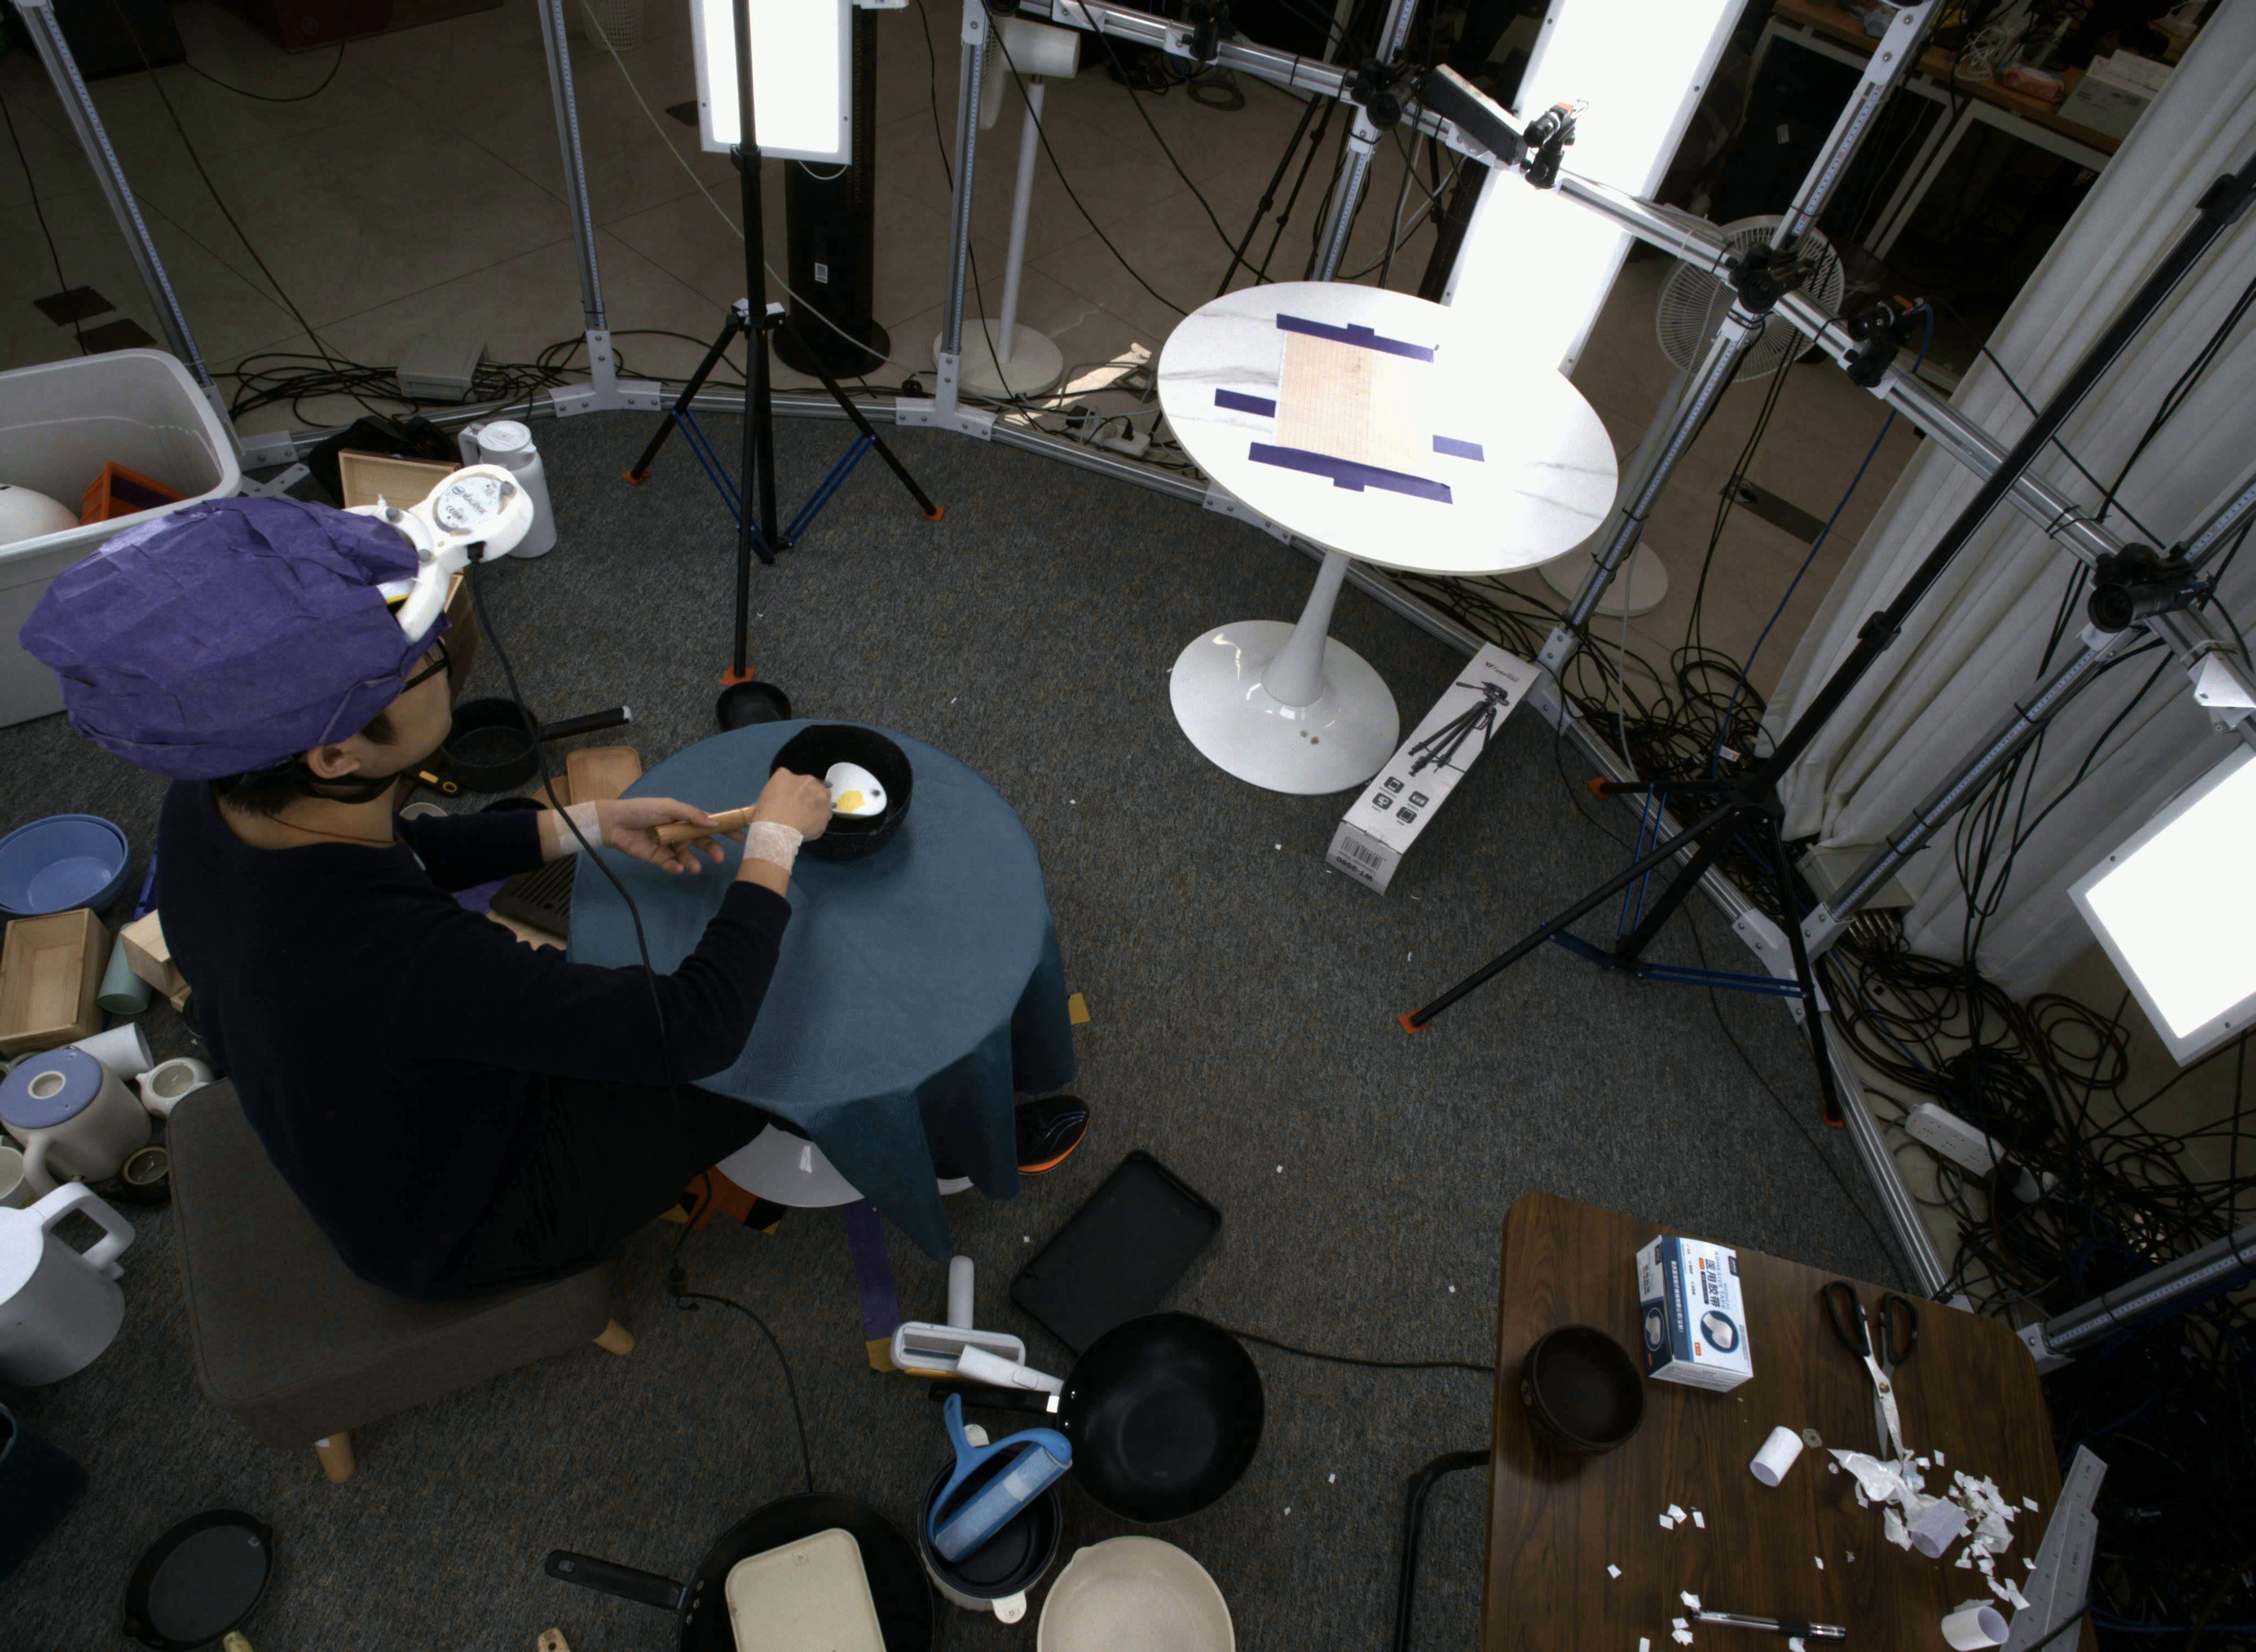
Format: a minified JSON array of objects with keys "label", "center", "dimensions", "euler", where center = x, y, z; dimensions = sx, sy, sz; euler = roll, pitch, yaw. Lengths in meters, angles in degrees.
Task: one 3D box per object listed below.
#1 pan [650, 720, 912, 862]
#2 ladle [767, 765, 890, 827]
[{"label":"pan","center":[-0.440,-0.018,1.654],"dimensions":[0.345,0.110,0.202],"euler":[-24,63,-30]},{"label":"ladle","center":[-0.370,-0.033,1.611],"dimensions":[0.070,0.293,0.090],"euler":[-39,89,4]}]
